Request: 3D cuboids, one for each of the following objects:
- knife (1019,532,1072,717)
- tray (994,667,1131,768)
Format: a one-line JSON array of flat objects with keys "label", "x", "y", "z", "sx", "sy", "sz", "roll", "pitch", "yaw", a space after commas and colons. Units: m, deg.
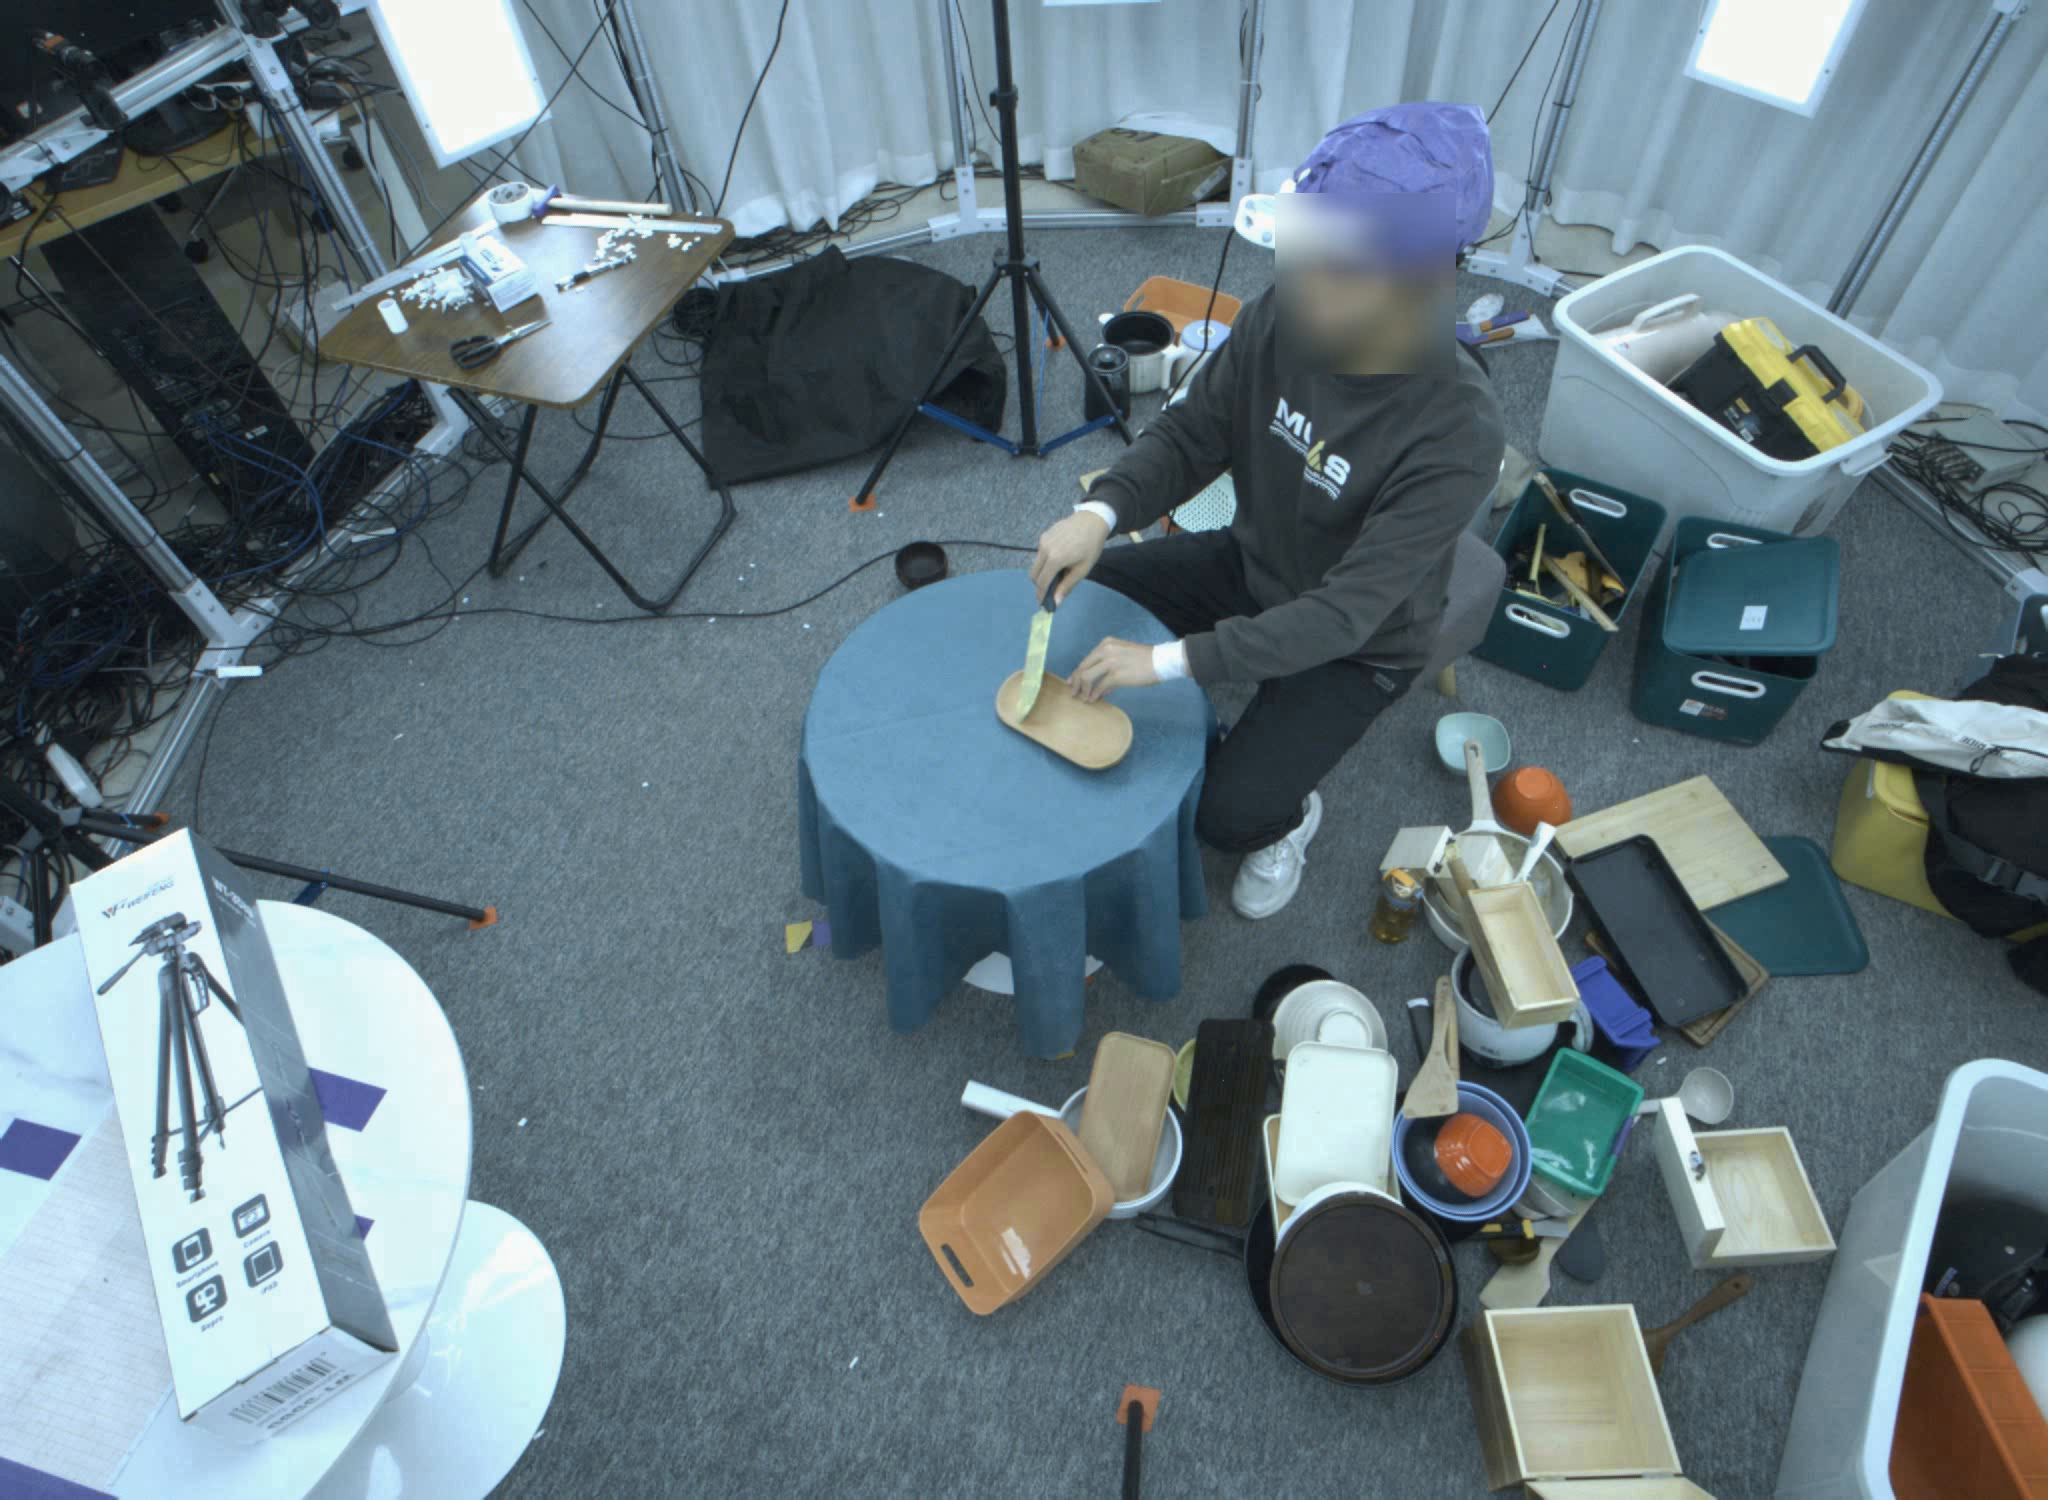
[{"label": "knife", "x": 0.028, "y": -0.186, "z": 1.818, "sx": 0.028, "sy": 0.080, "sz": 0.289, "roll": 17, "pitch": 78, "yaw": -24}, {"label": "tray", "x": 0.054, "y": -0.048, "z": 1.795, "sx": 0.226, "sy": 0.021, "sz": 0.102, "roll": 29, "pitch": 76, "yaw": 28}]
